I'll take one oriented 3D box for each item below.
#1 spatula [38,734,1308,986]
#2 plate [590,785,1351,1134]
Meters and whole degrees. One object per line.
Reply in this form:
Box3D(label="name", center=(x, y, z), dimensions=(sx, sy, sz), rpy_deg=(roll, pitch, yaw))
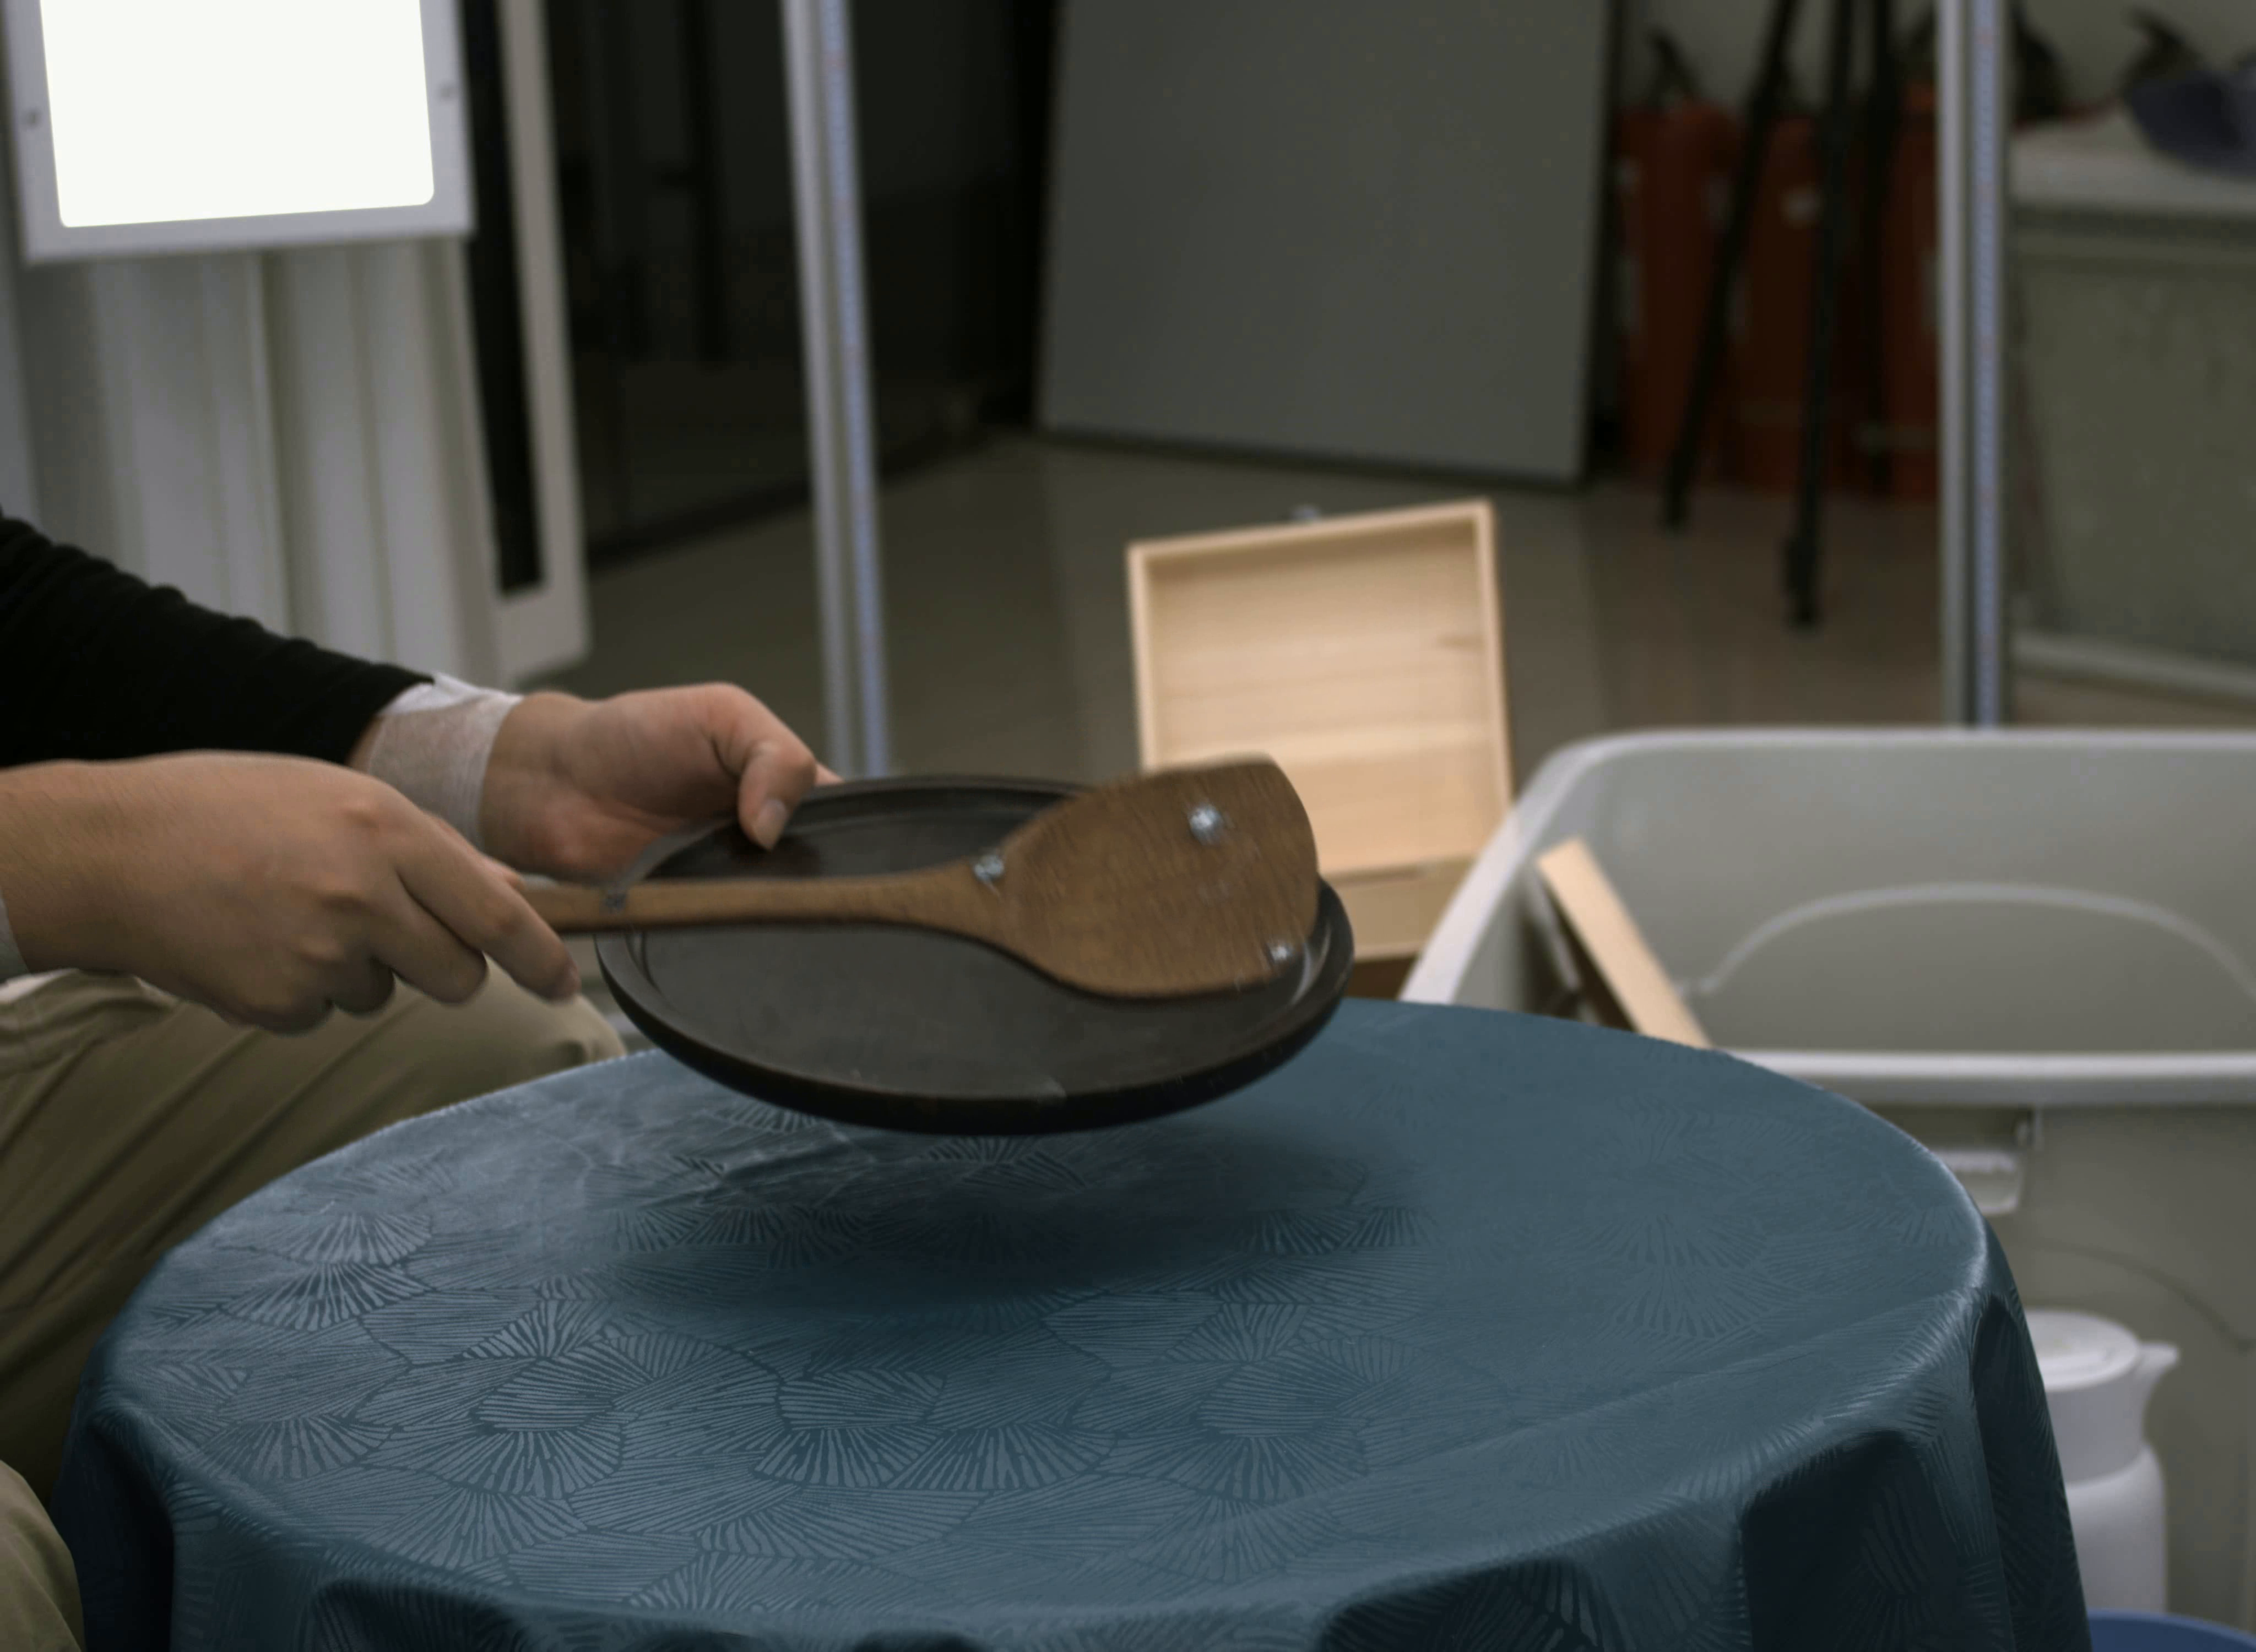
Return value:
Box3D(label="spatula", center=(-0.136, 0.020, 1.617), dimensions=(0.381, 0.016, 0.097), rpy_deg=(-3, 47, 3))
Box3D(label="plate", center=(-0.052, 0.041, 1.775), dimensions=(0.251, 0.029, 0.255), rpy_deg=(2, 24, -2))
